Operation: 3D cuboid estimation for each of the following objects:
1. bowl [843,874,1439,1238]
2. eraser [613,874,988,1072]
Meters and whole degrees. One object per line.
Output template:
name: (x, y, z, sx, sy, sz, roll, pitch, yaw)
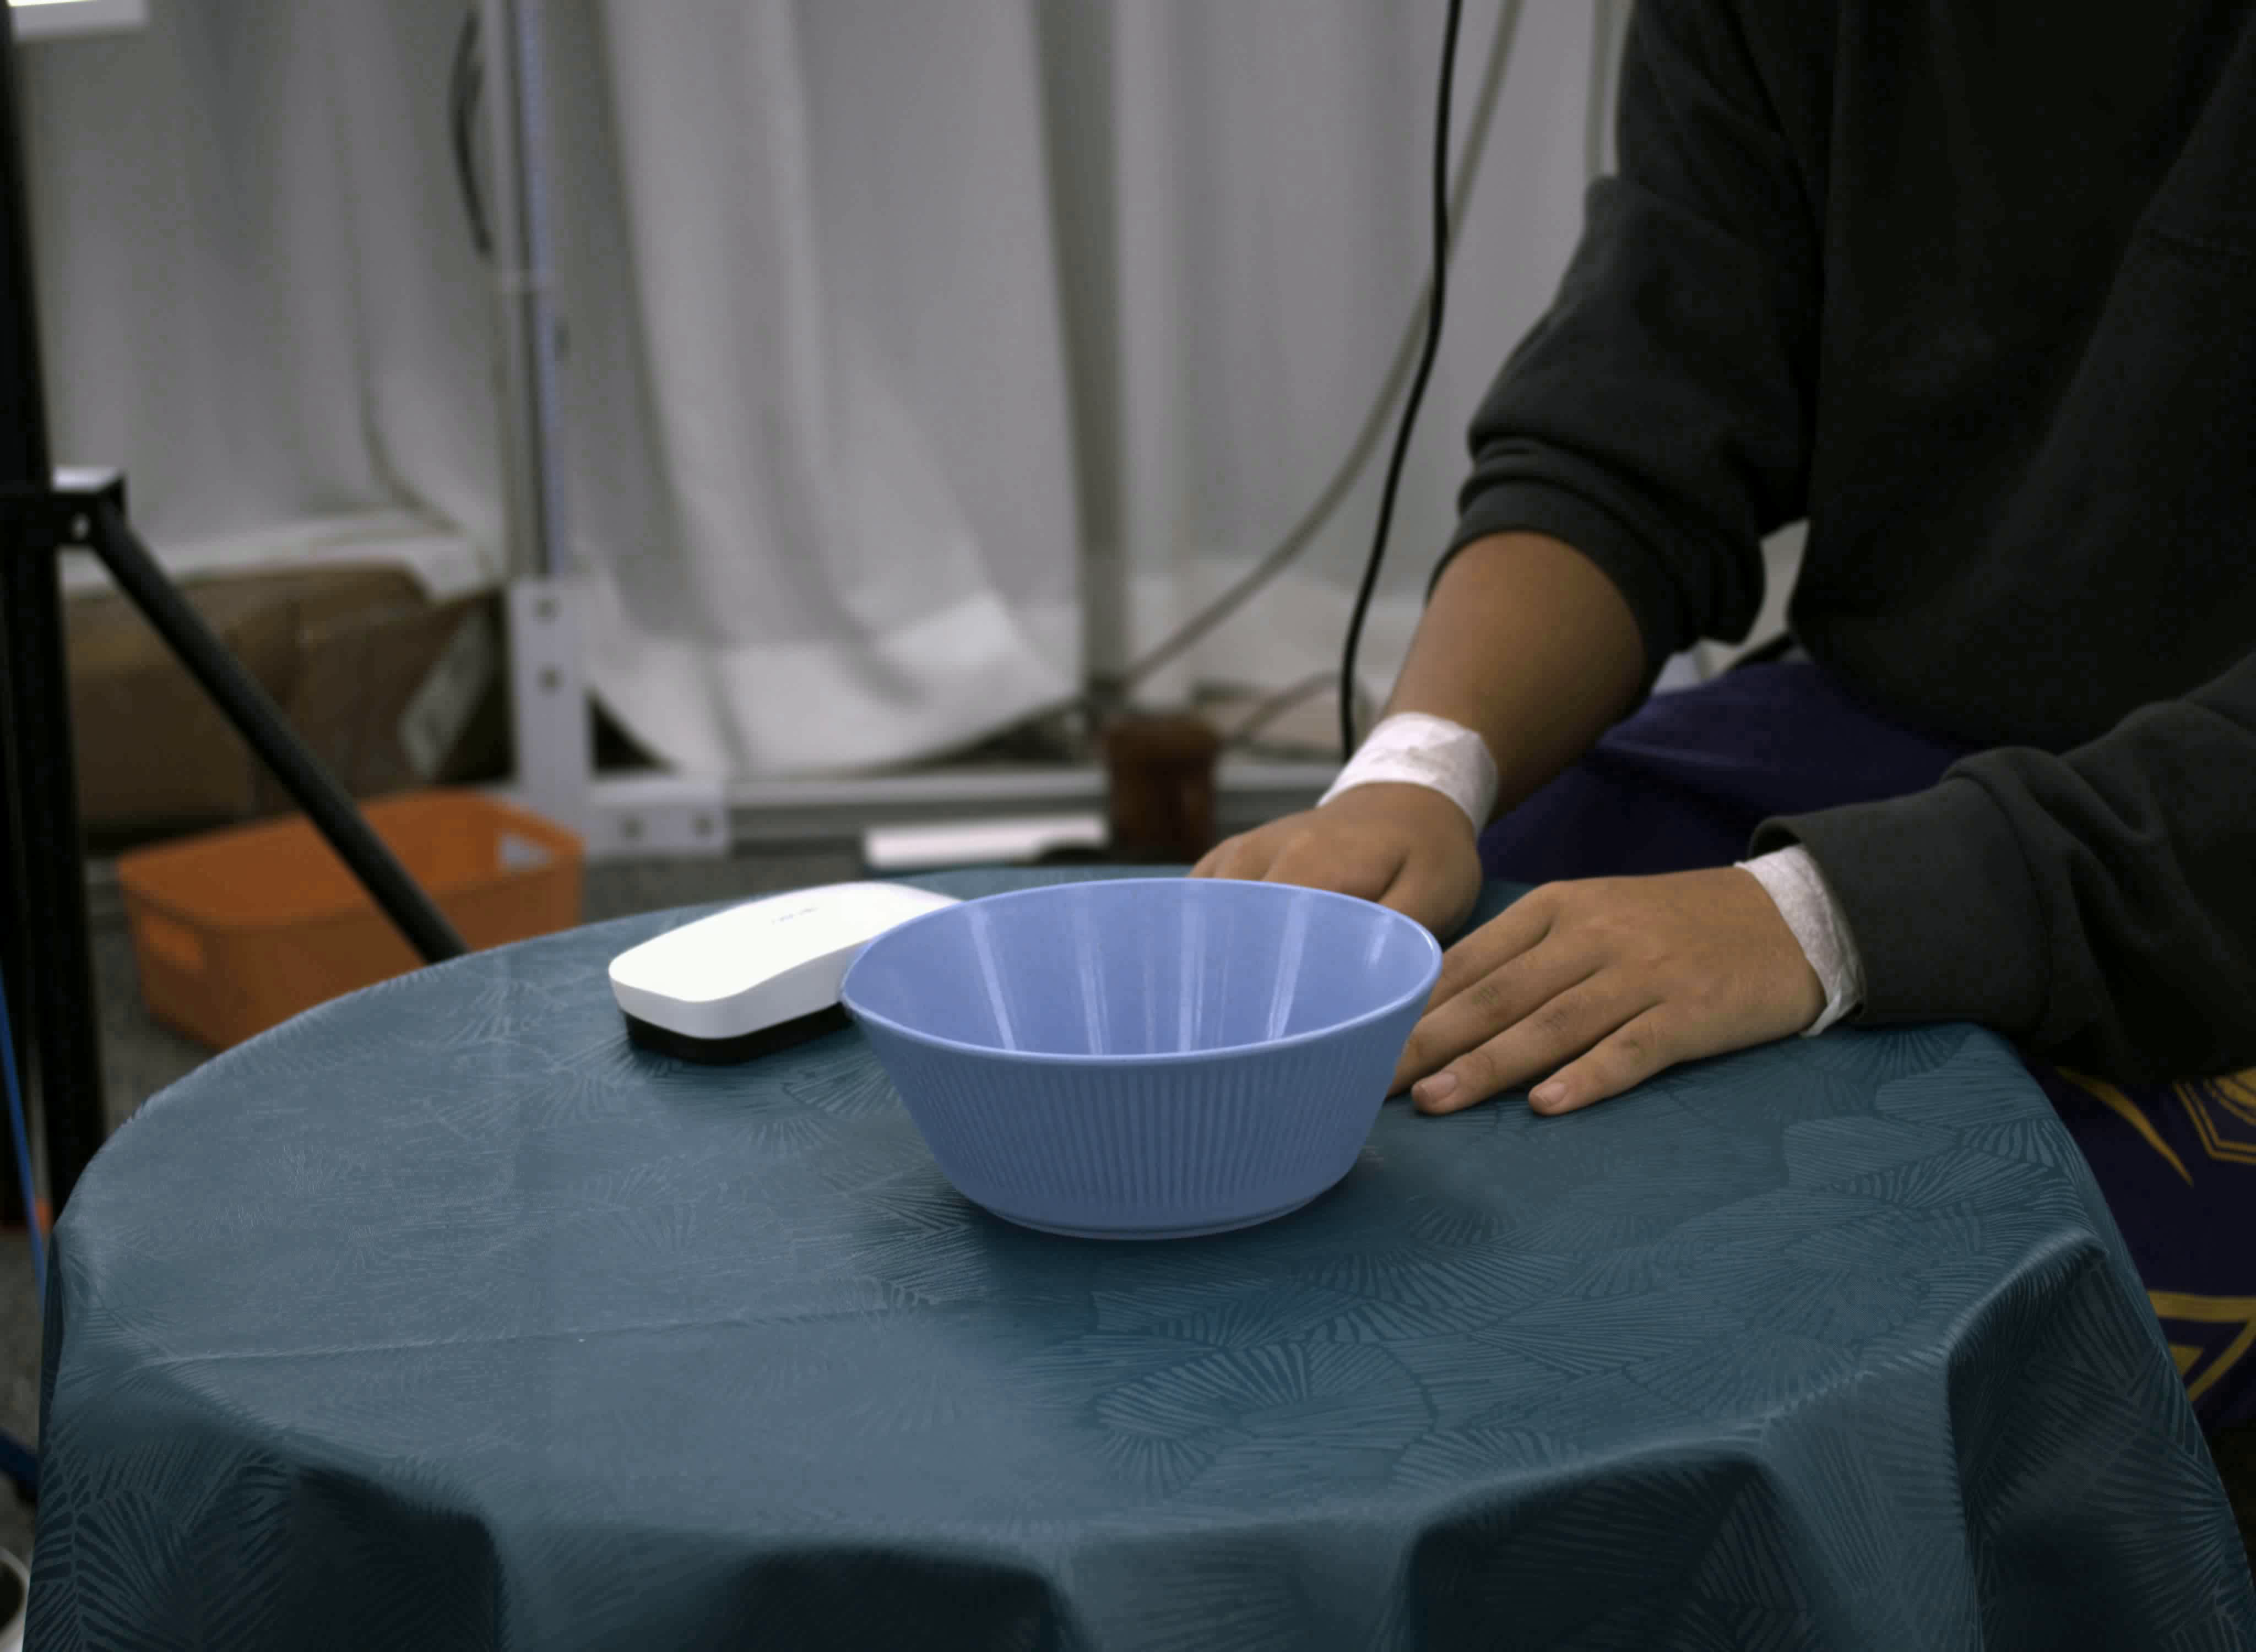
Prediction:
bowl: (0.005, 0.070, 1.563, 0.175, 0.070, 0.177, -2, 16, -1)
eraser: (-0.104, 0.045, 1.742, 0.128, 0.034, 0.065, -18, 23, -39)
